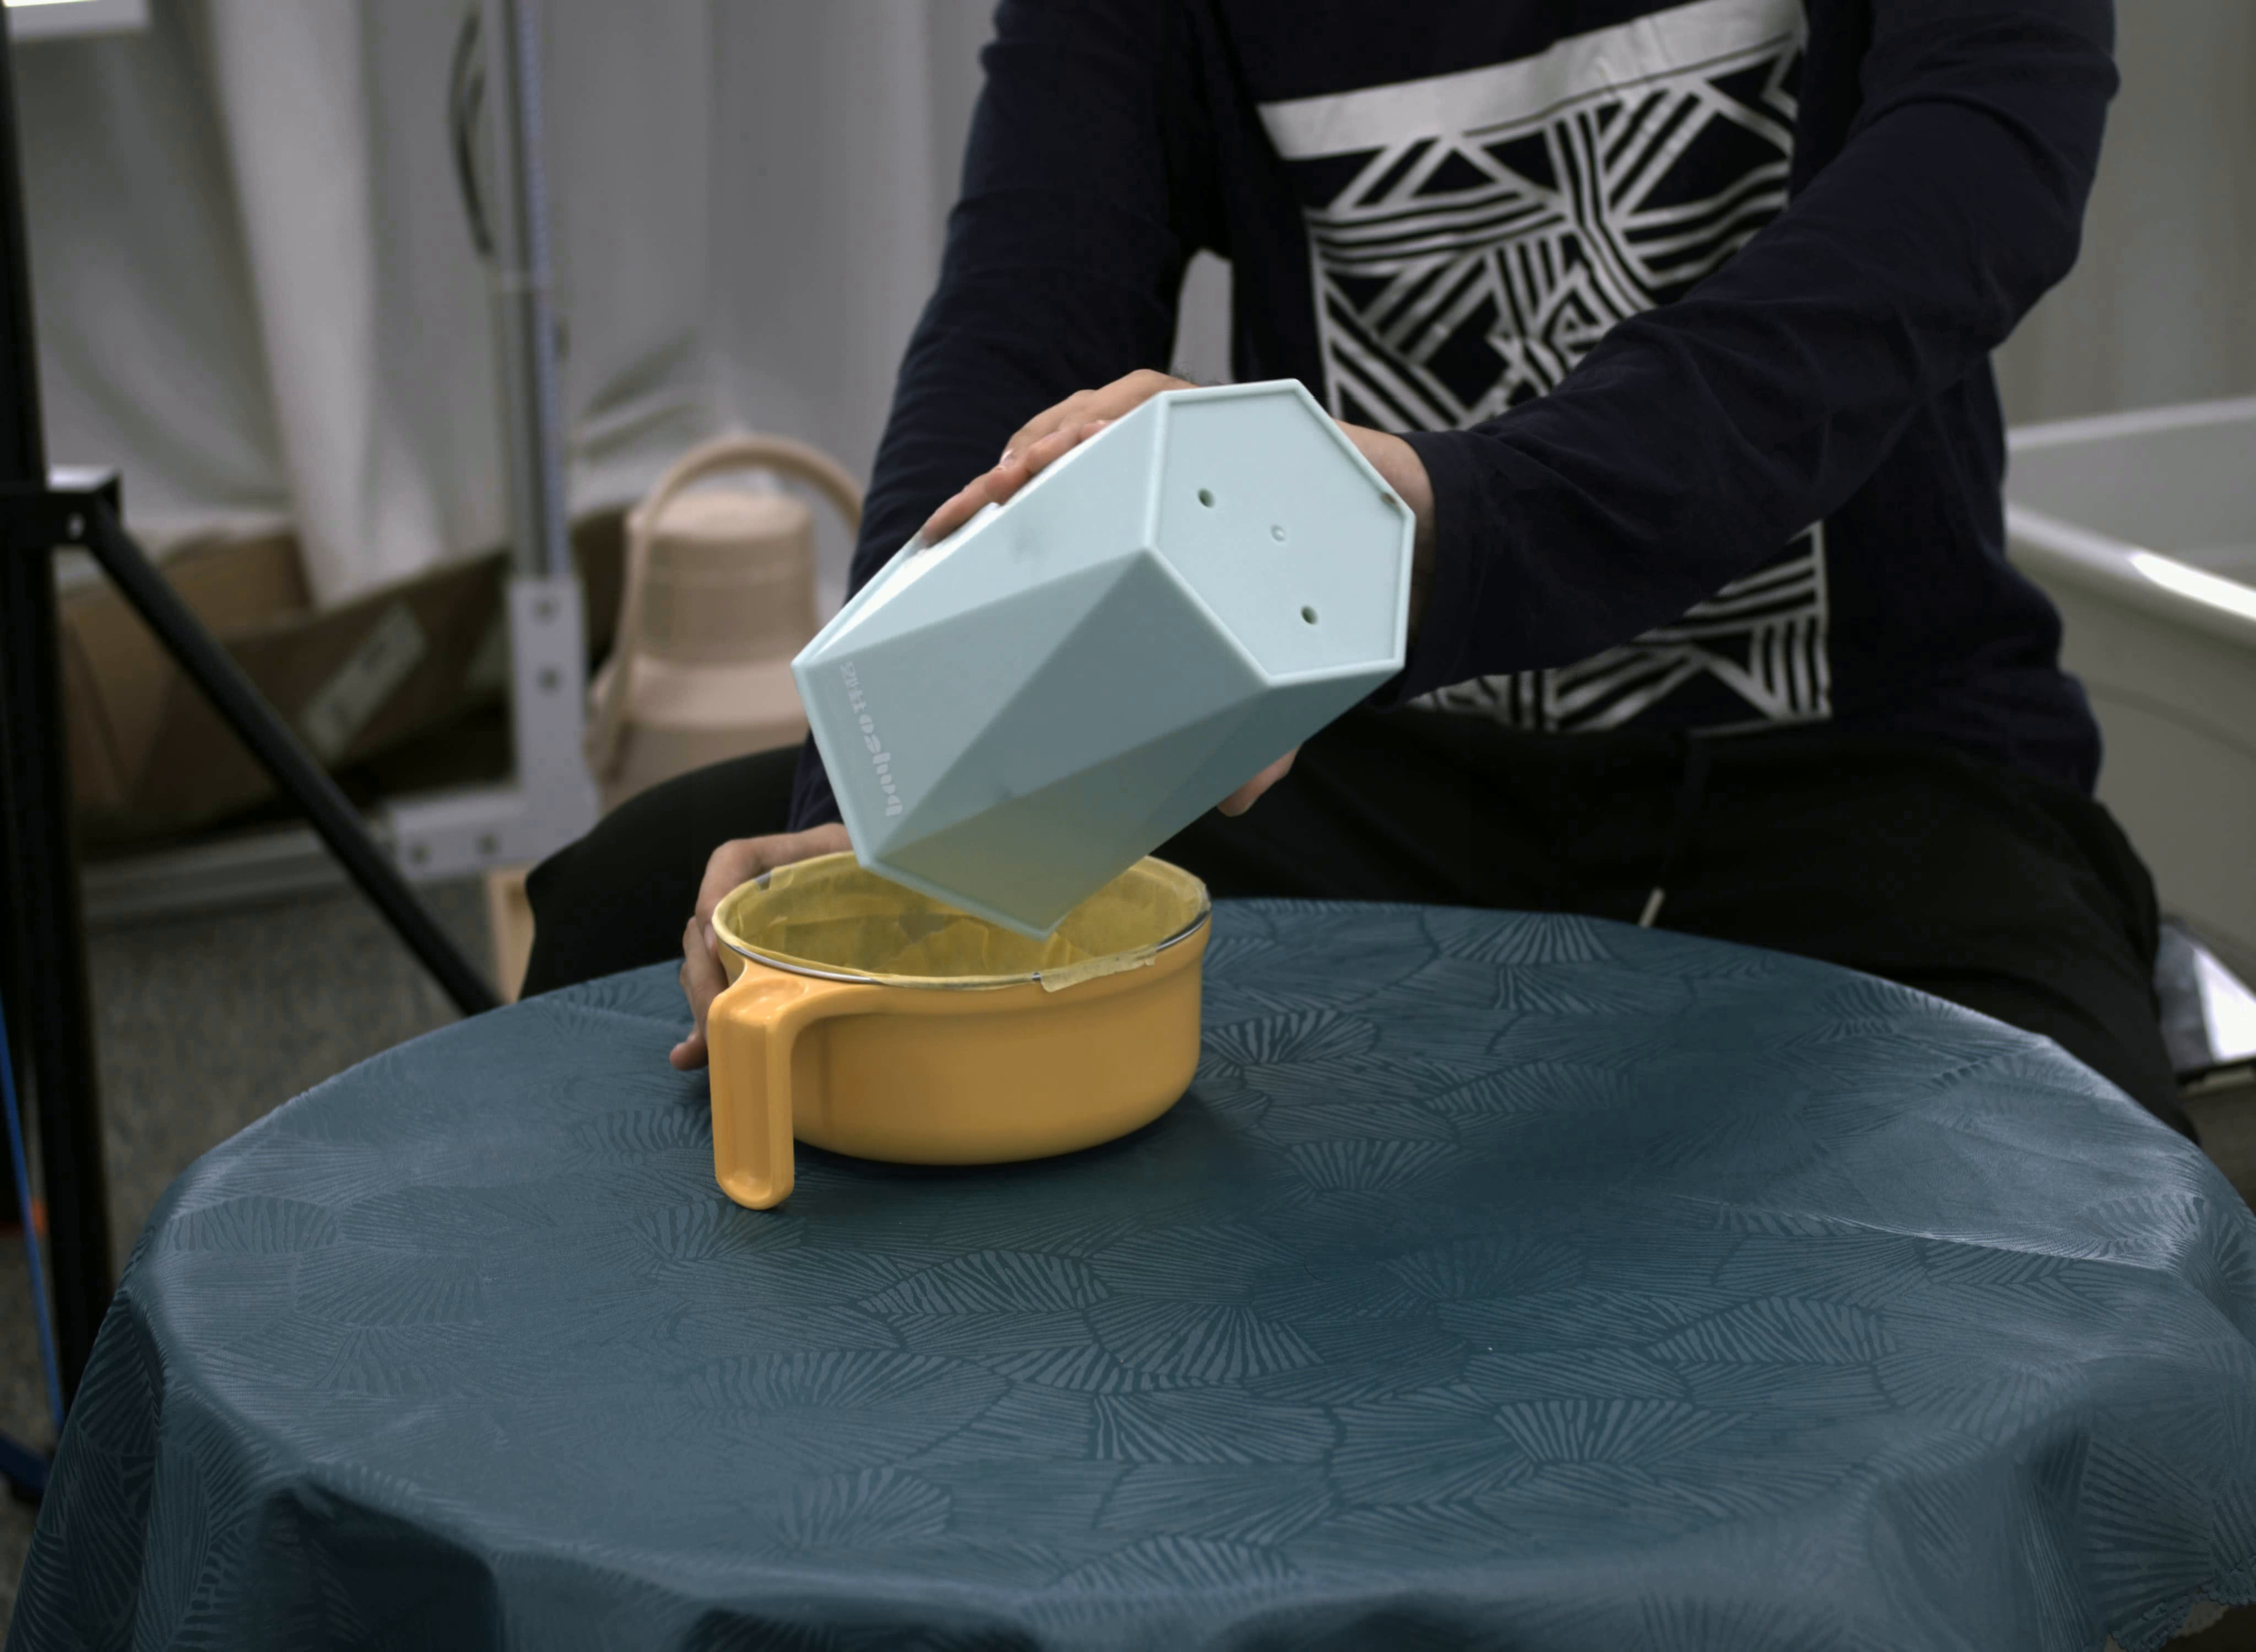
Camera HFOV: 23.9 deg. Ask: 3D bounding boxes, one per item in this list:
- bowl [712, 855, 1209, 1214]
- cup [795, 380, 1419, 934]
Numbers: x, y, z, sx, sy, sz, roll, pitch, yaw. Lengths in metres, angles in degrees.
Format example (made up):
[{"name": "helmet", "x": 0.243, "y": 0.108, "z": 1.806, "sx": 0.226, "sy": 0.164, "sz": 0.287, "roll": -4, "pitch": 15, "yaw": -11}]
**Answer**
[{"name": "bowl", "x": -0.058, "y": 0.060, "z": 1.619, "sx": 0.156, "sy": 0.074, "sz": 0.175, "roll": 9, "pitch": 17, "yaw": 34}, {"name": "cup", "x": -0.002, "y": -0.056, "z": 1.560, "sx": 0.112, "sy": 0.132, "sz": 0.165, "roll": -6, "pitch": -17, "yaw": -38}]
